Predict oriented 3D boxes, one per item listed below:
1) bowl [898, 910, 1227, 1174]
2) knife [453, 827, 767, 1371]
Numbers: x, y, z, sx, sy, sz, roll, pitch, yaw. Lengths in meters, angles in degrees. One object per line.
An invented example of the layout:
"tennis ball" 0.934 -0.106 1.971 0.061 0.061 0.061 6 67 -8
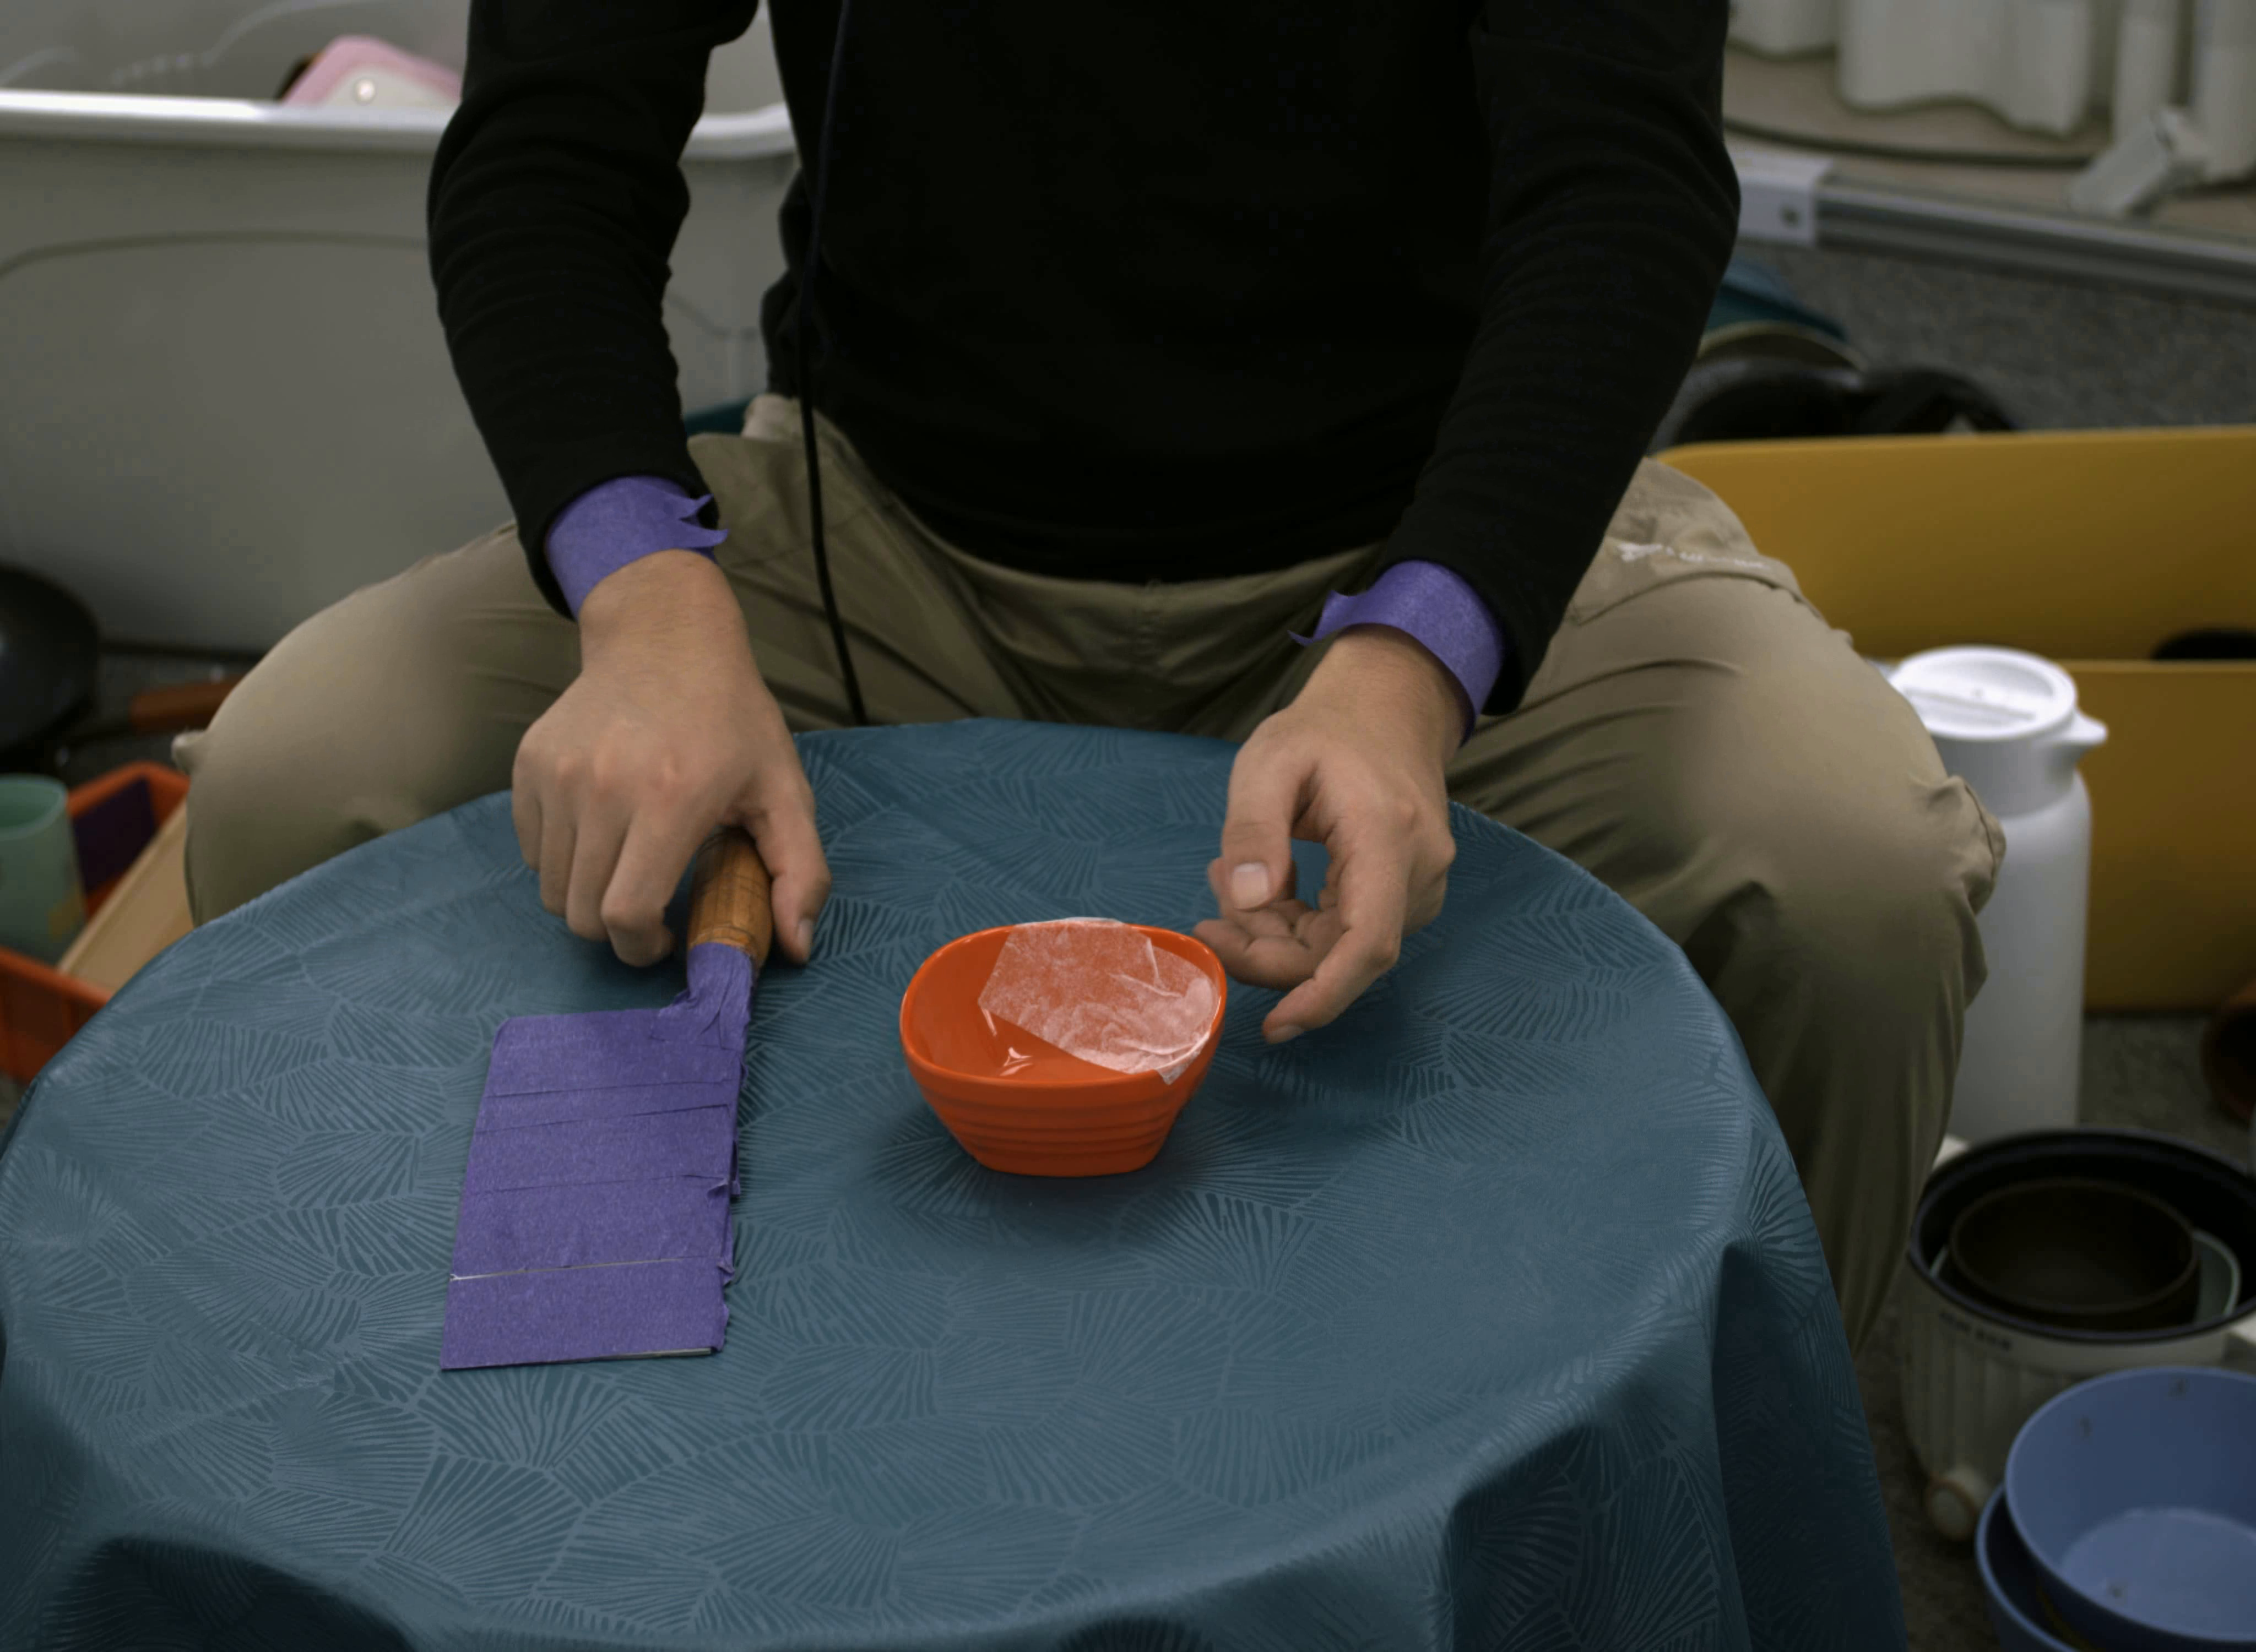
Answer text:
"bowl" -0.020 0.077 1.886 0.118 0.051 0.121 -3 30 2
"knife" -0.174 0.089 1.911 0.103 0.032 0.320 -2 28 0
